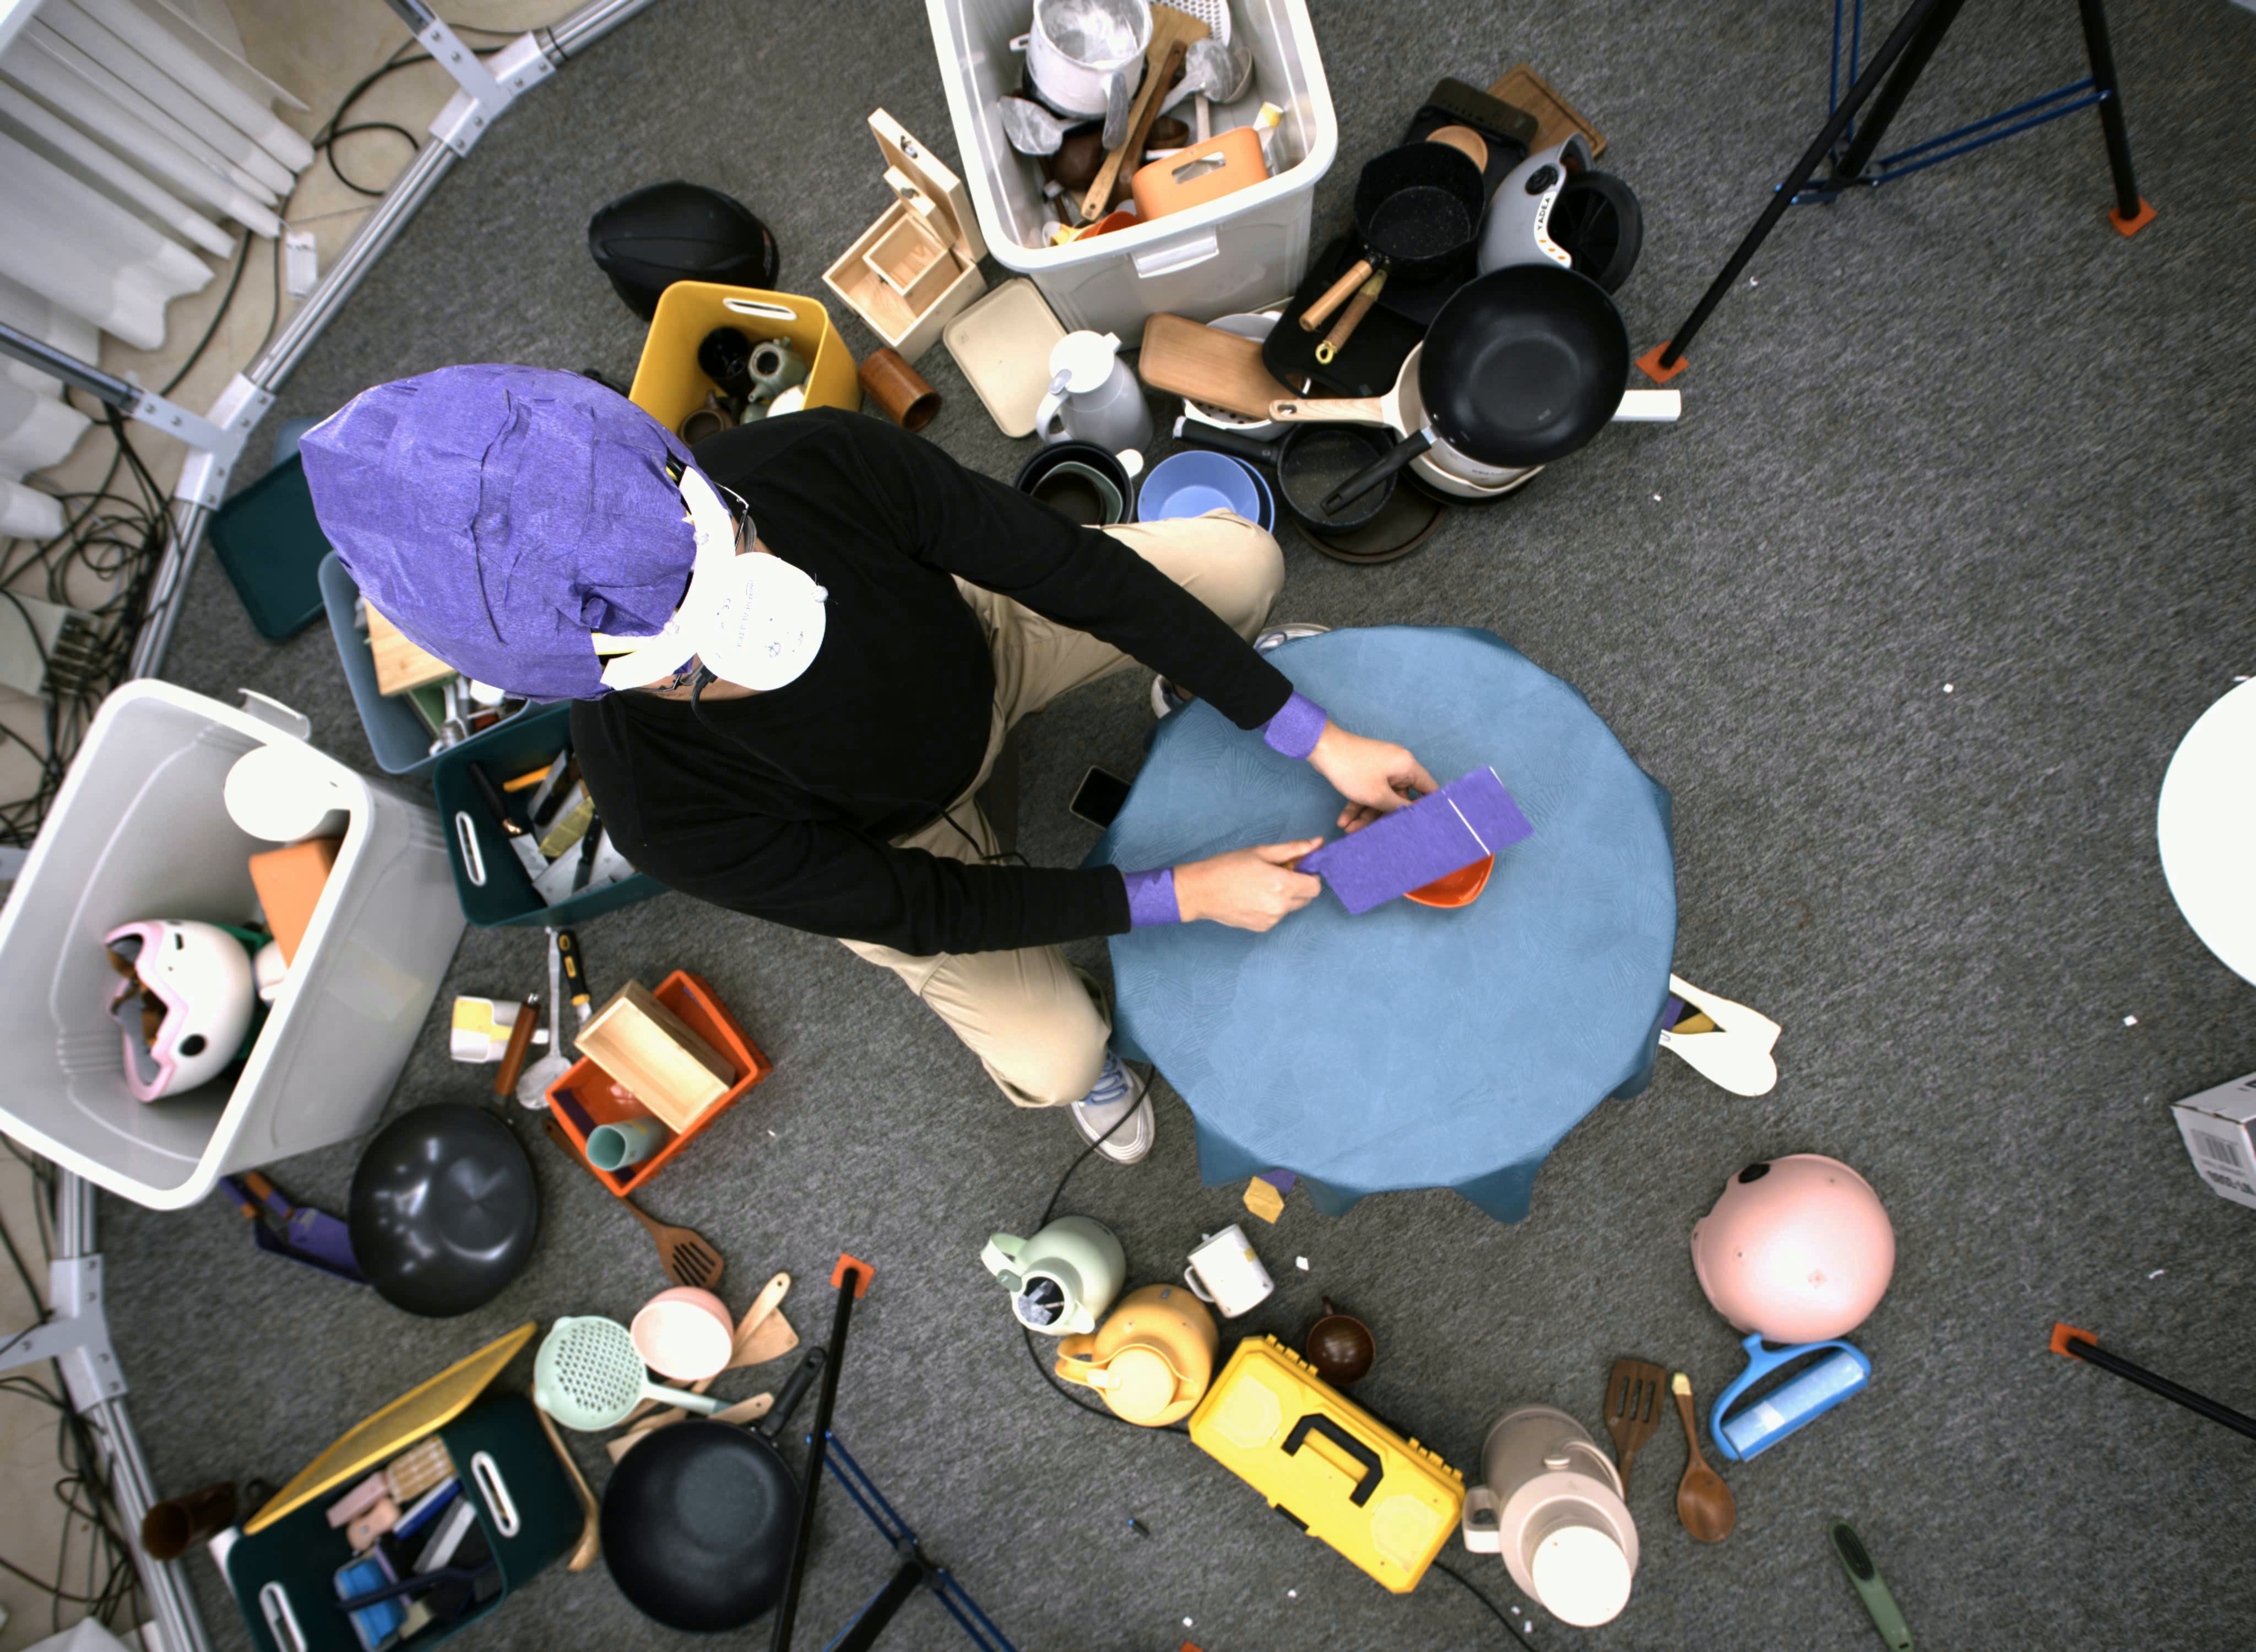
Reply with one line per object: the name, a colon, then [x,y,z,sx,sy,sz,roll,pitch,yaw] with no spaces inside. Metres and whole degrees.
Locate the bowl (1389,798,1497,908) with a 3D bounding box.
bowl: [0.321,0.027,1.425,0.119,0.051,0.118,0,89,8]

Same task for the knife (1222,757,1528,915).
knife: [0.245,0.036,1.389,0.320,0.031,0.105,-28,115,30]
